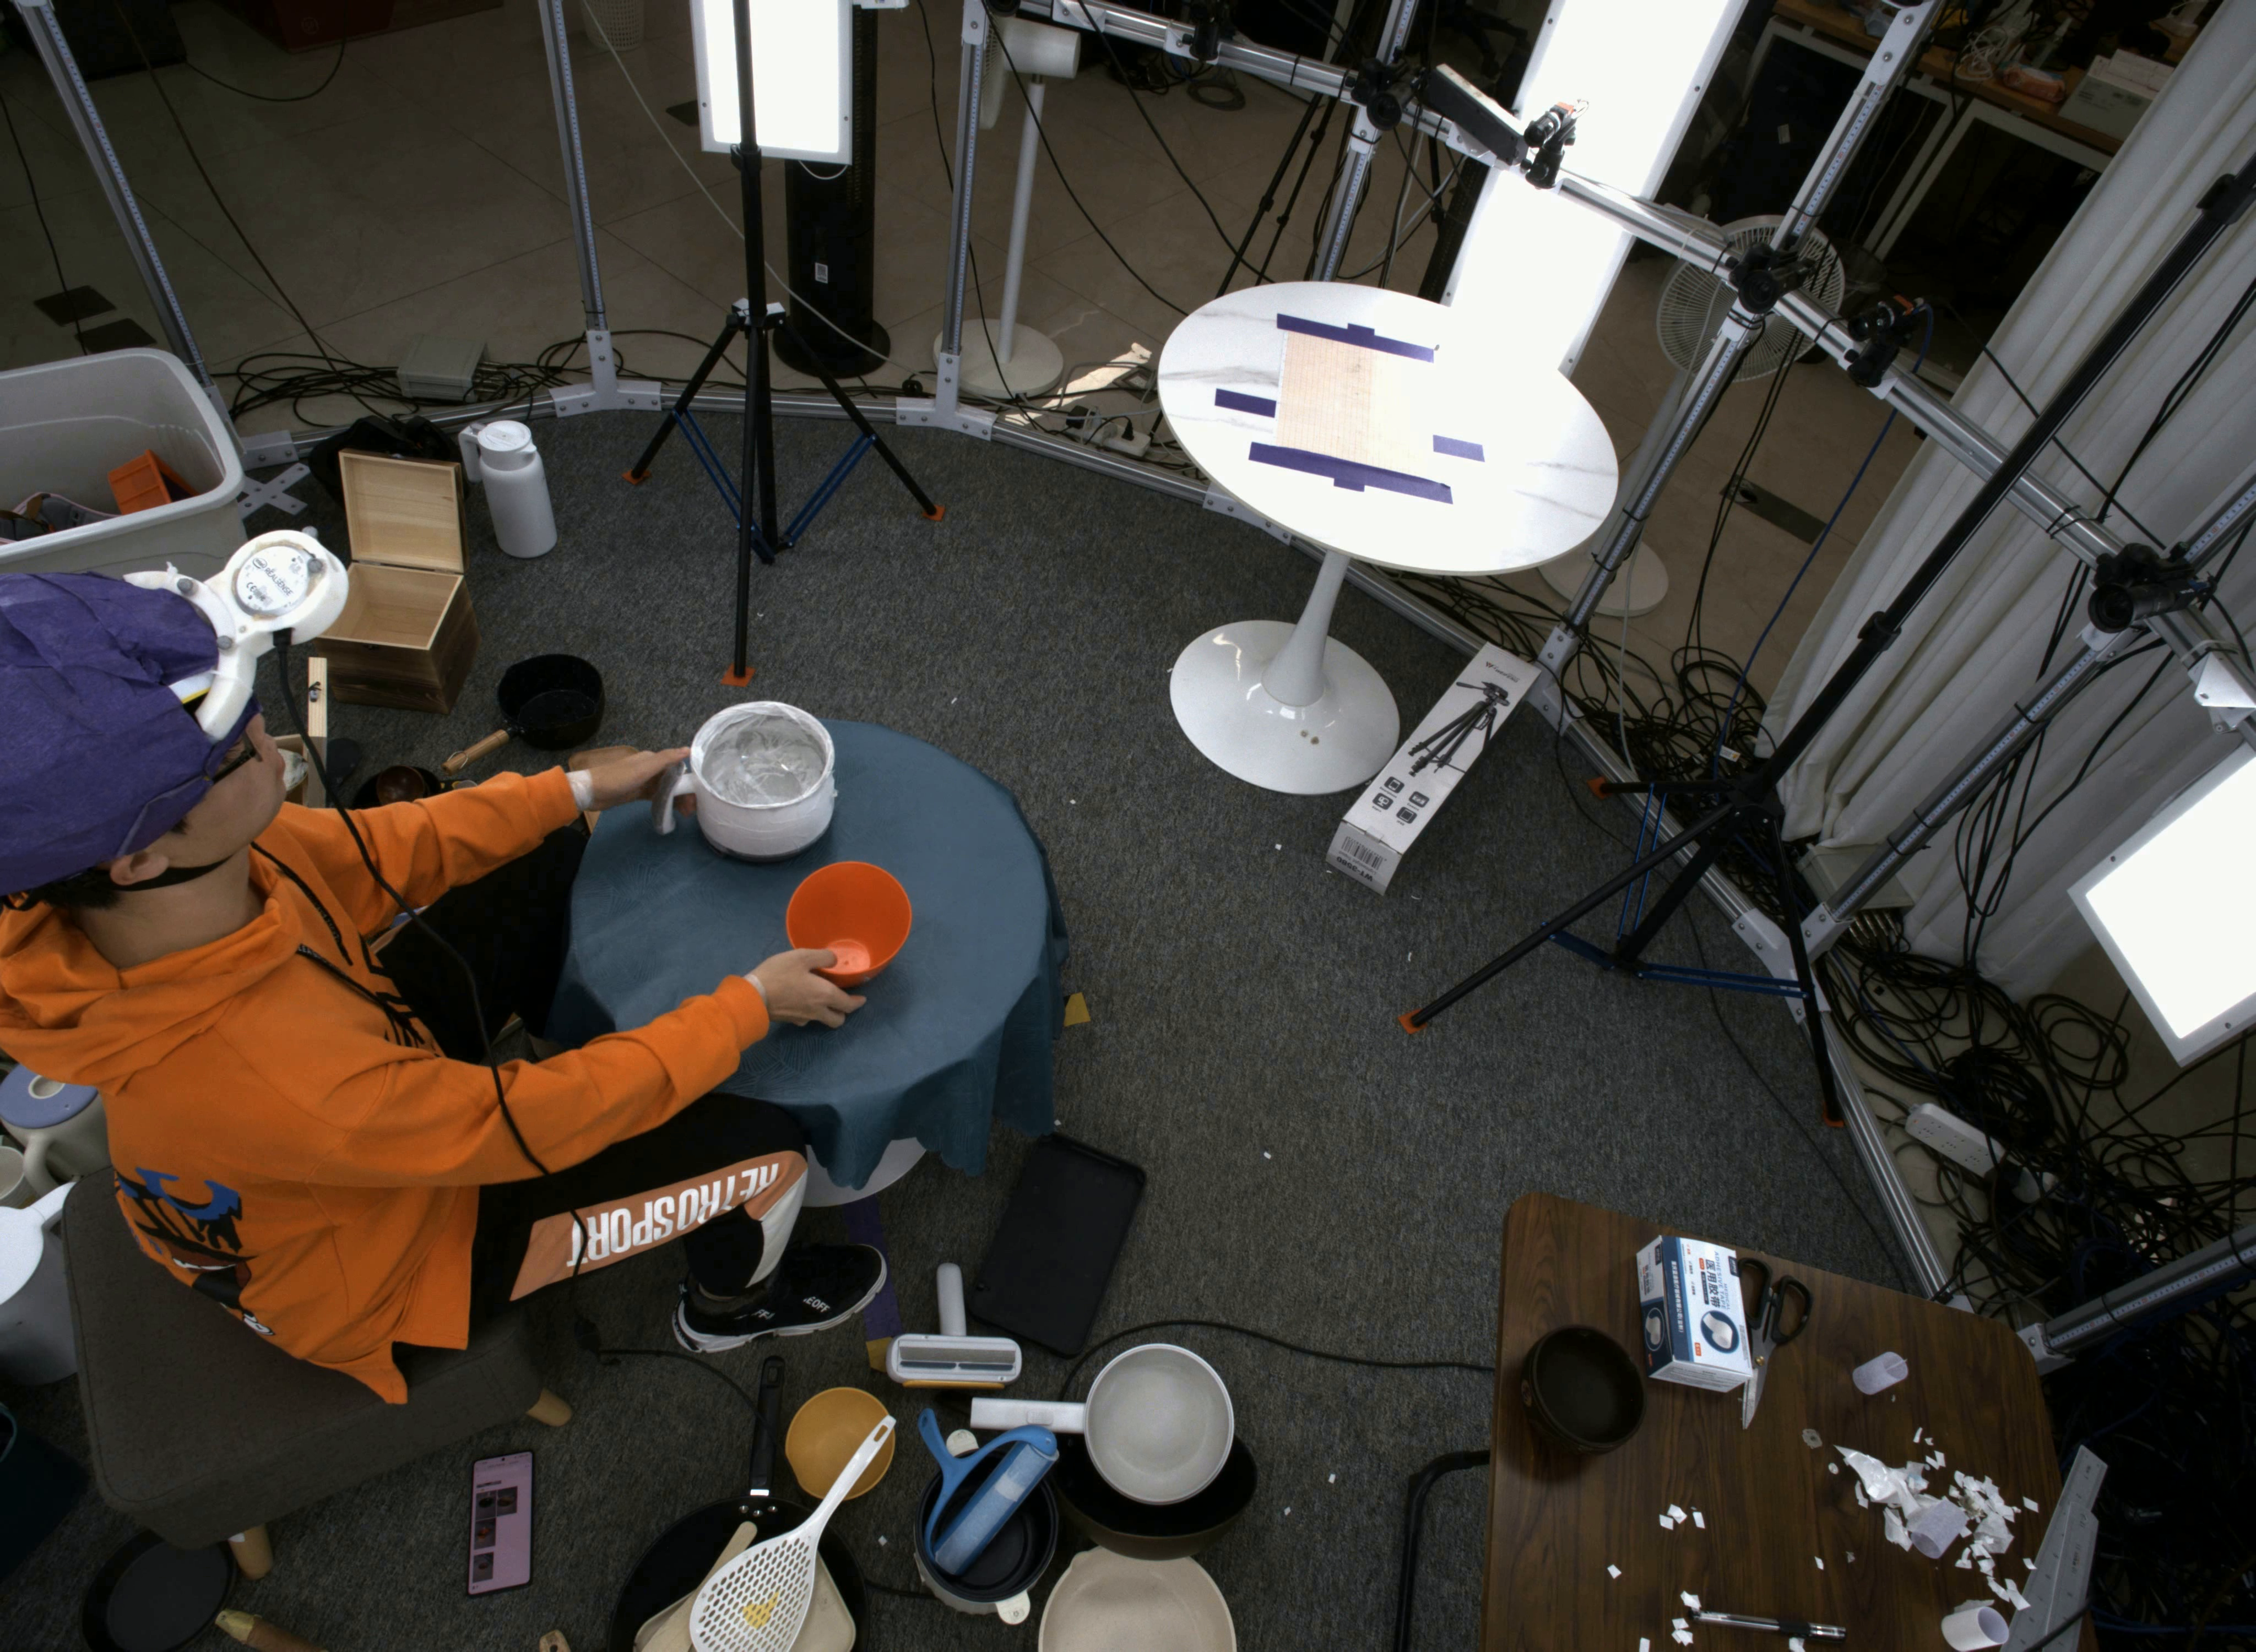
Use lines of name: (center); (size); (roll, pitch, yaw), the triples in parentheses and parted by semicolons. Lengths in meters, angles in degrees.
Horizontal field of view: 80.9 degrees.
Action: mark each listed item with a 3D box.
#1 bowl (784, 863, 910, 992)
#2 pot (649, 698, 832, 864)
bowl: (-0.340, 0.134, 1.574); (0.148, 0.107, 0.145); (7, 53, -8)
pot: (-0.493, -0.048, 1.643); (0.235, 0.139, 0.174); (-12, 56, -23)
